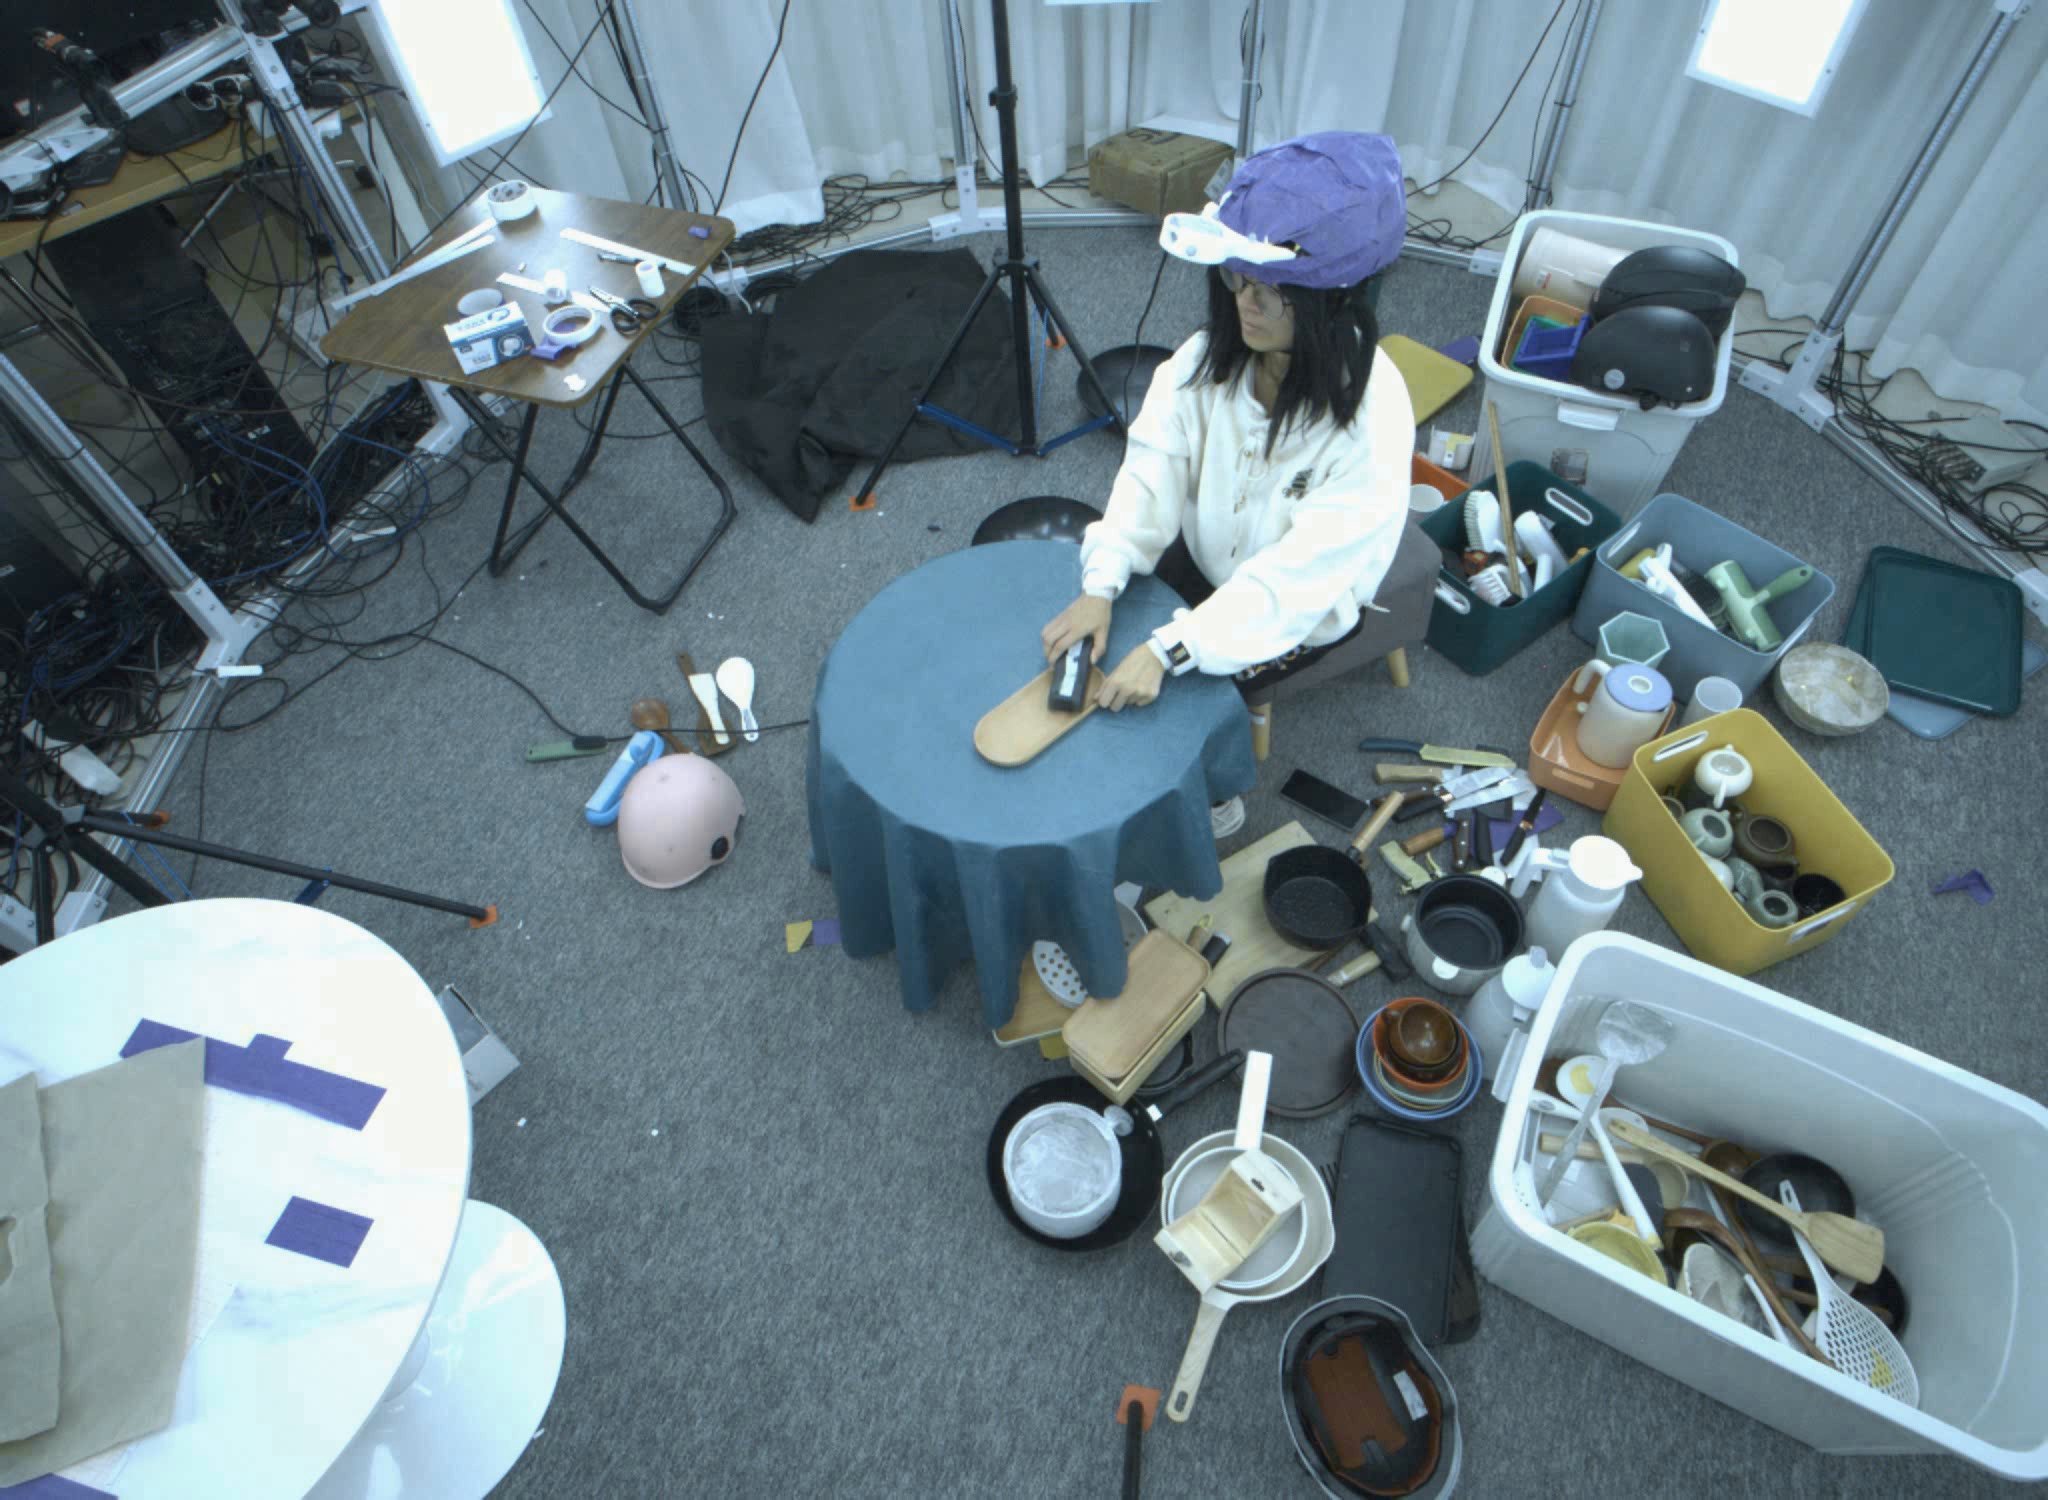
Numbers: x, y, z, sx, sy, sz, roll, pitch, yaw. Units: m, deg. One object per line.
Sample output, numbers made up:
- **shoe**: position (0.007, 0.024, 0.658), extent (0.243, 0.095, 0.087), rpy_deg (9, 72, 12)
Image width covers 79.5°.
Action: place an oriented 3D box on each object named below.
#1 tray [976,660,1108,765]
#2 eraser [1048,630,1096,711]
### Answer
- **tray**: position (0.027, -0.060, 1.819), extent (0.233, 0.020, 0.100), rpy_deg (-39, 65, -25)
- **eraser**: position (0.071, -0.118, 1.834), extent (0.053, 0.030, 0.125), rpy_deg (10, 61, 1)
